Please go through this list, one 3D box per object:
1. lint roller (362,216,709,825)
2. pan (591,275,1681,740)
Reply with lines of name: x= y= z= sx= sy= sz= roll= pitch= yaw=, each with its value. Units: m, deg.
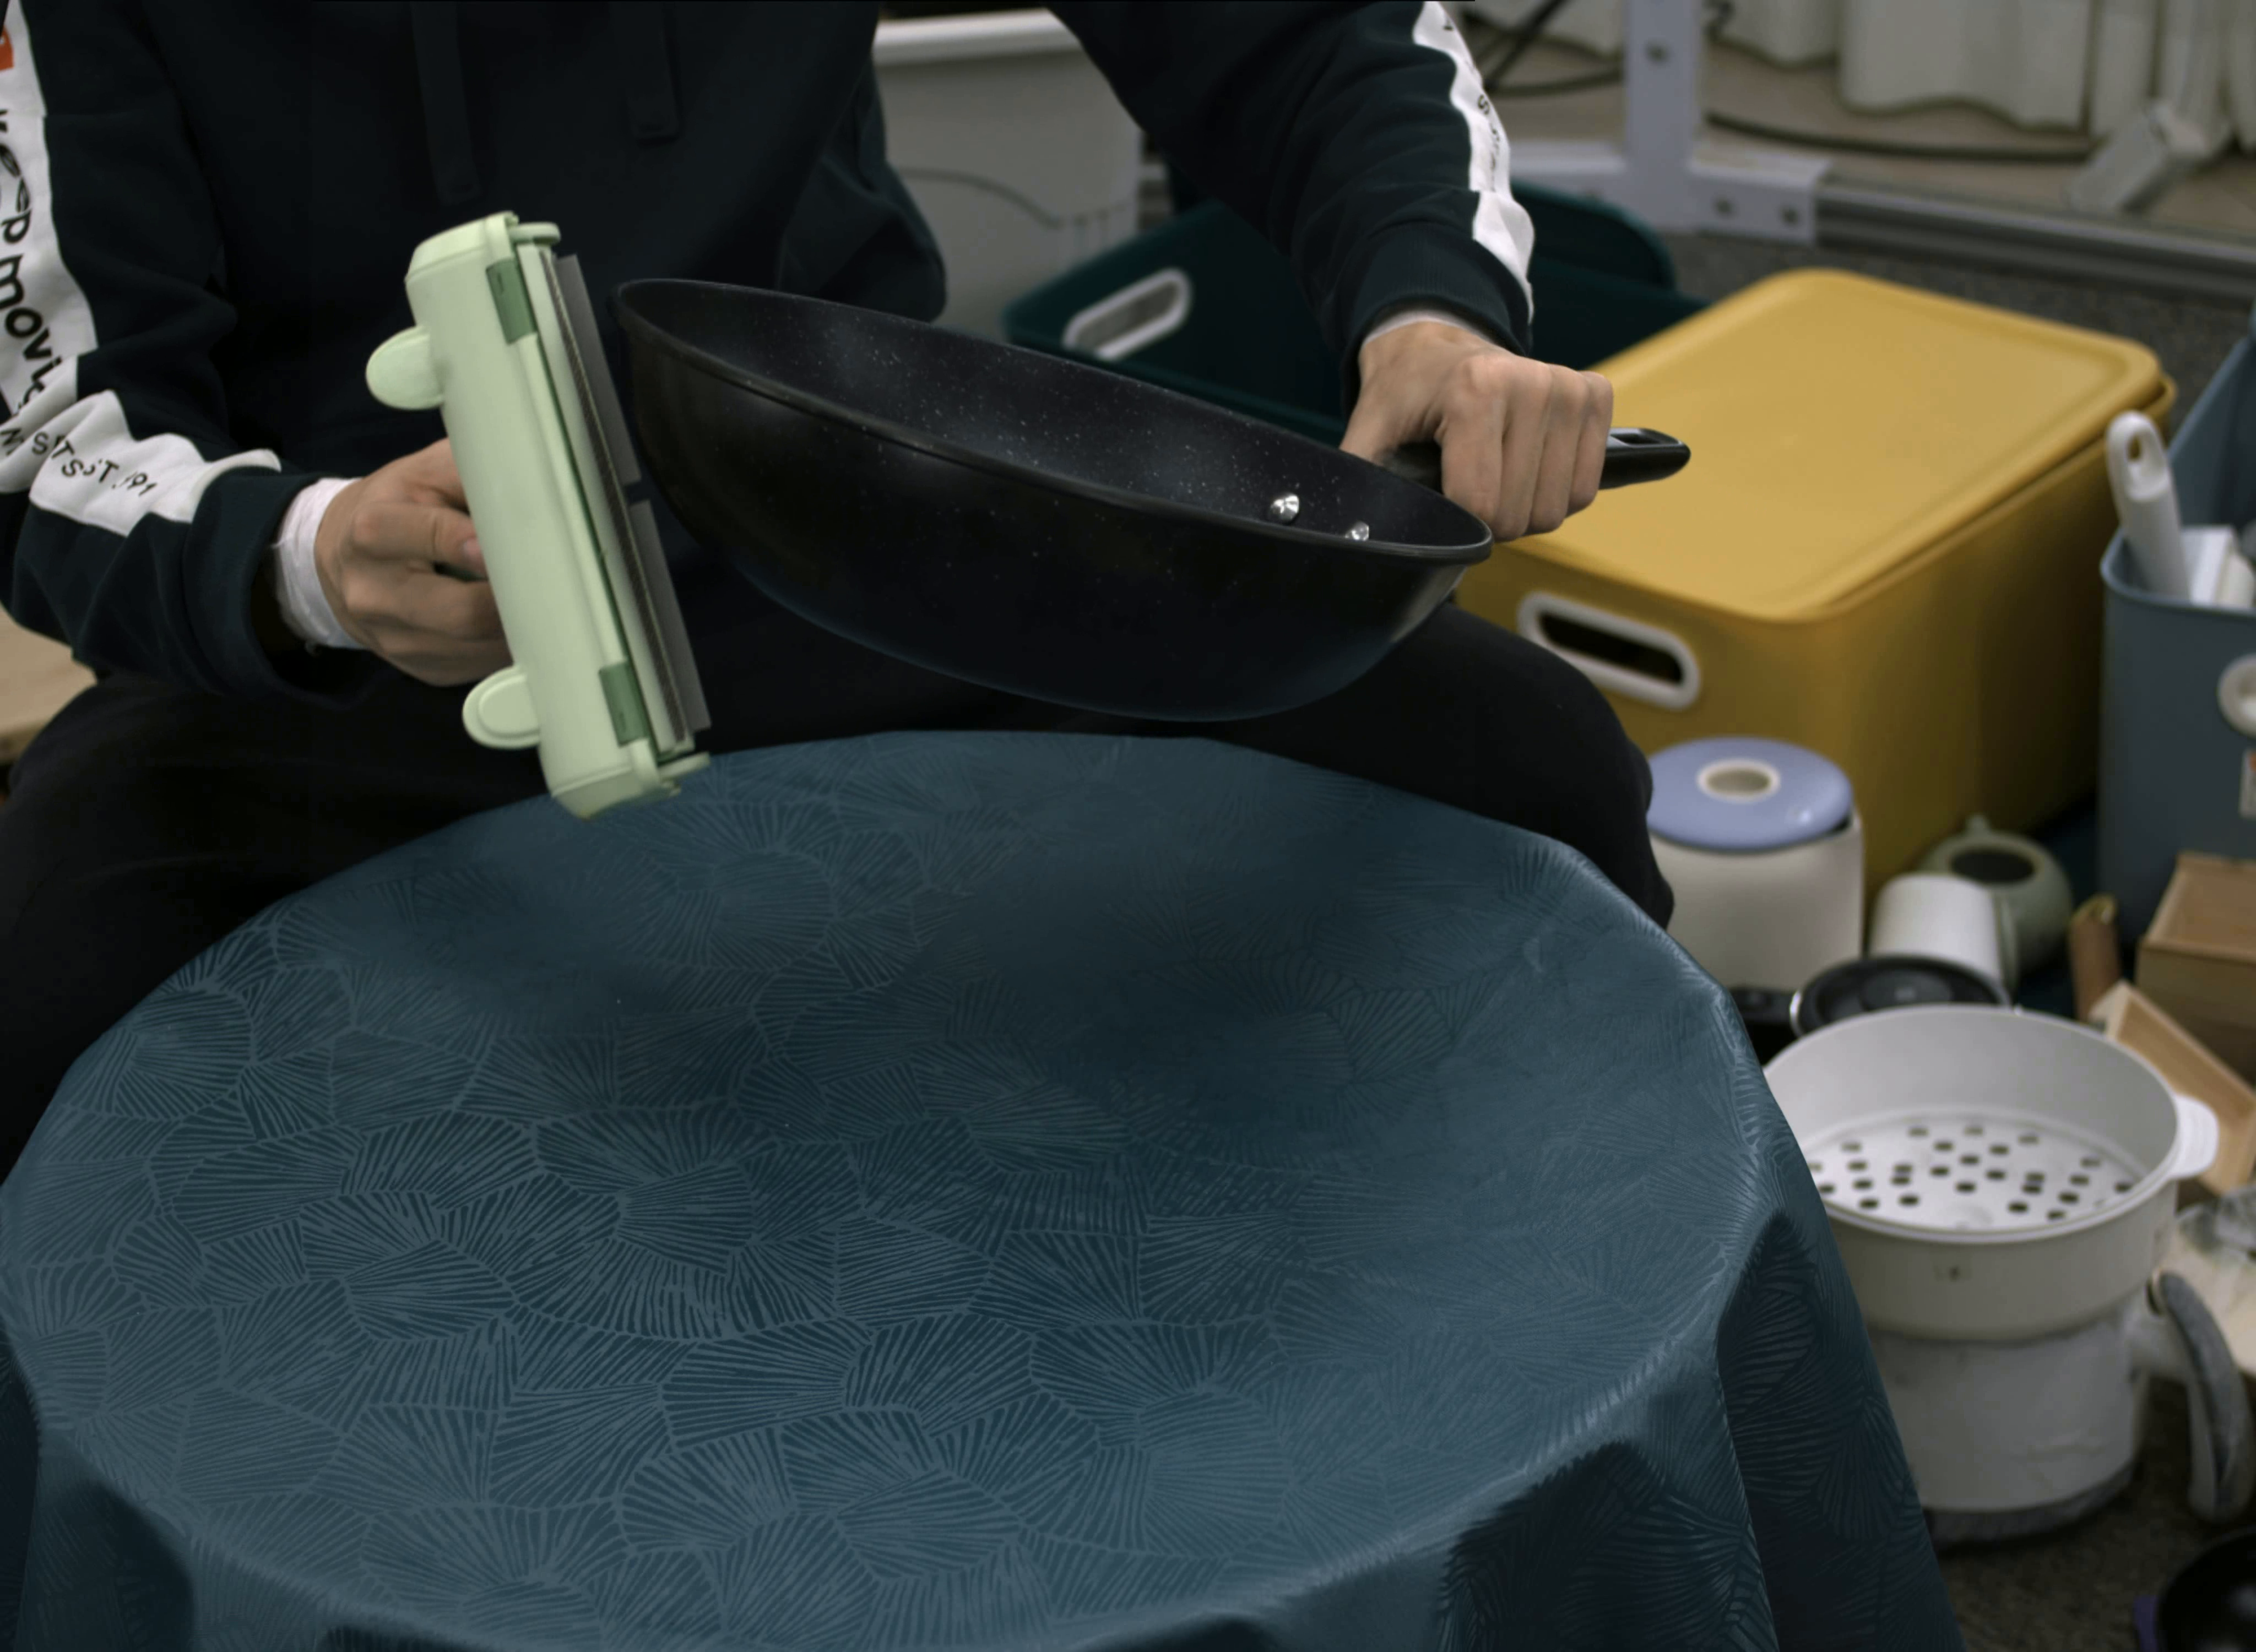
lint roller: x=-0.220 y=-0.089 z=1.887 sx=0.083 sy=0.199 sz=0.181 roll=-15 pitch=-2 yaw=-32
pan: x=0.020 y=-0.104 z=1.948 sx=0.478 sy=0.111 sz=0.310 roll=4 pitch=17 yaw=-46
